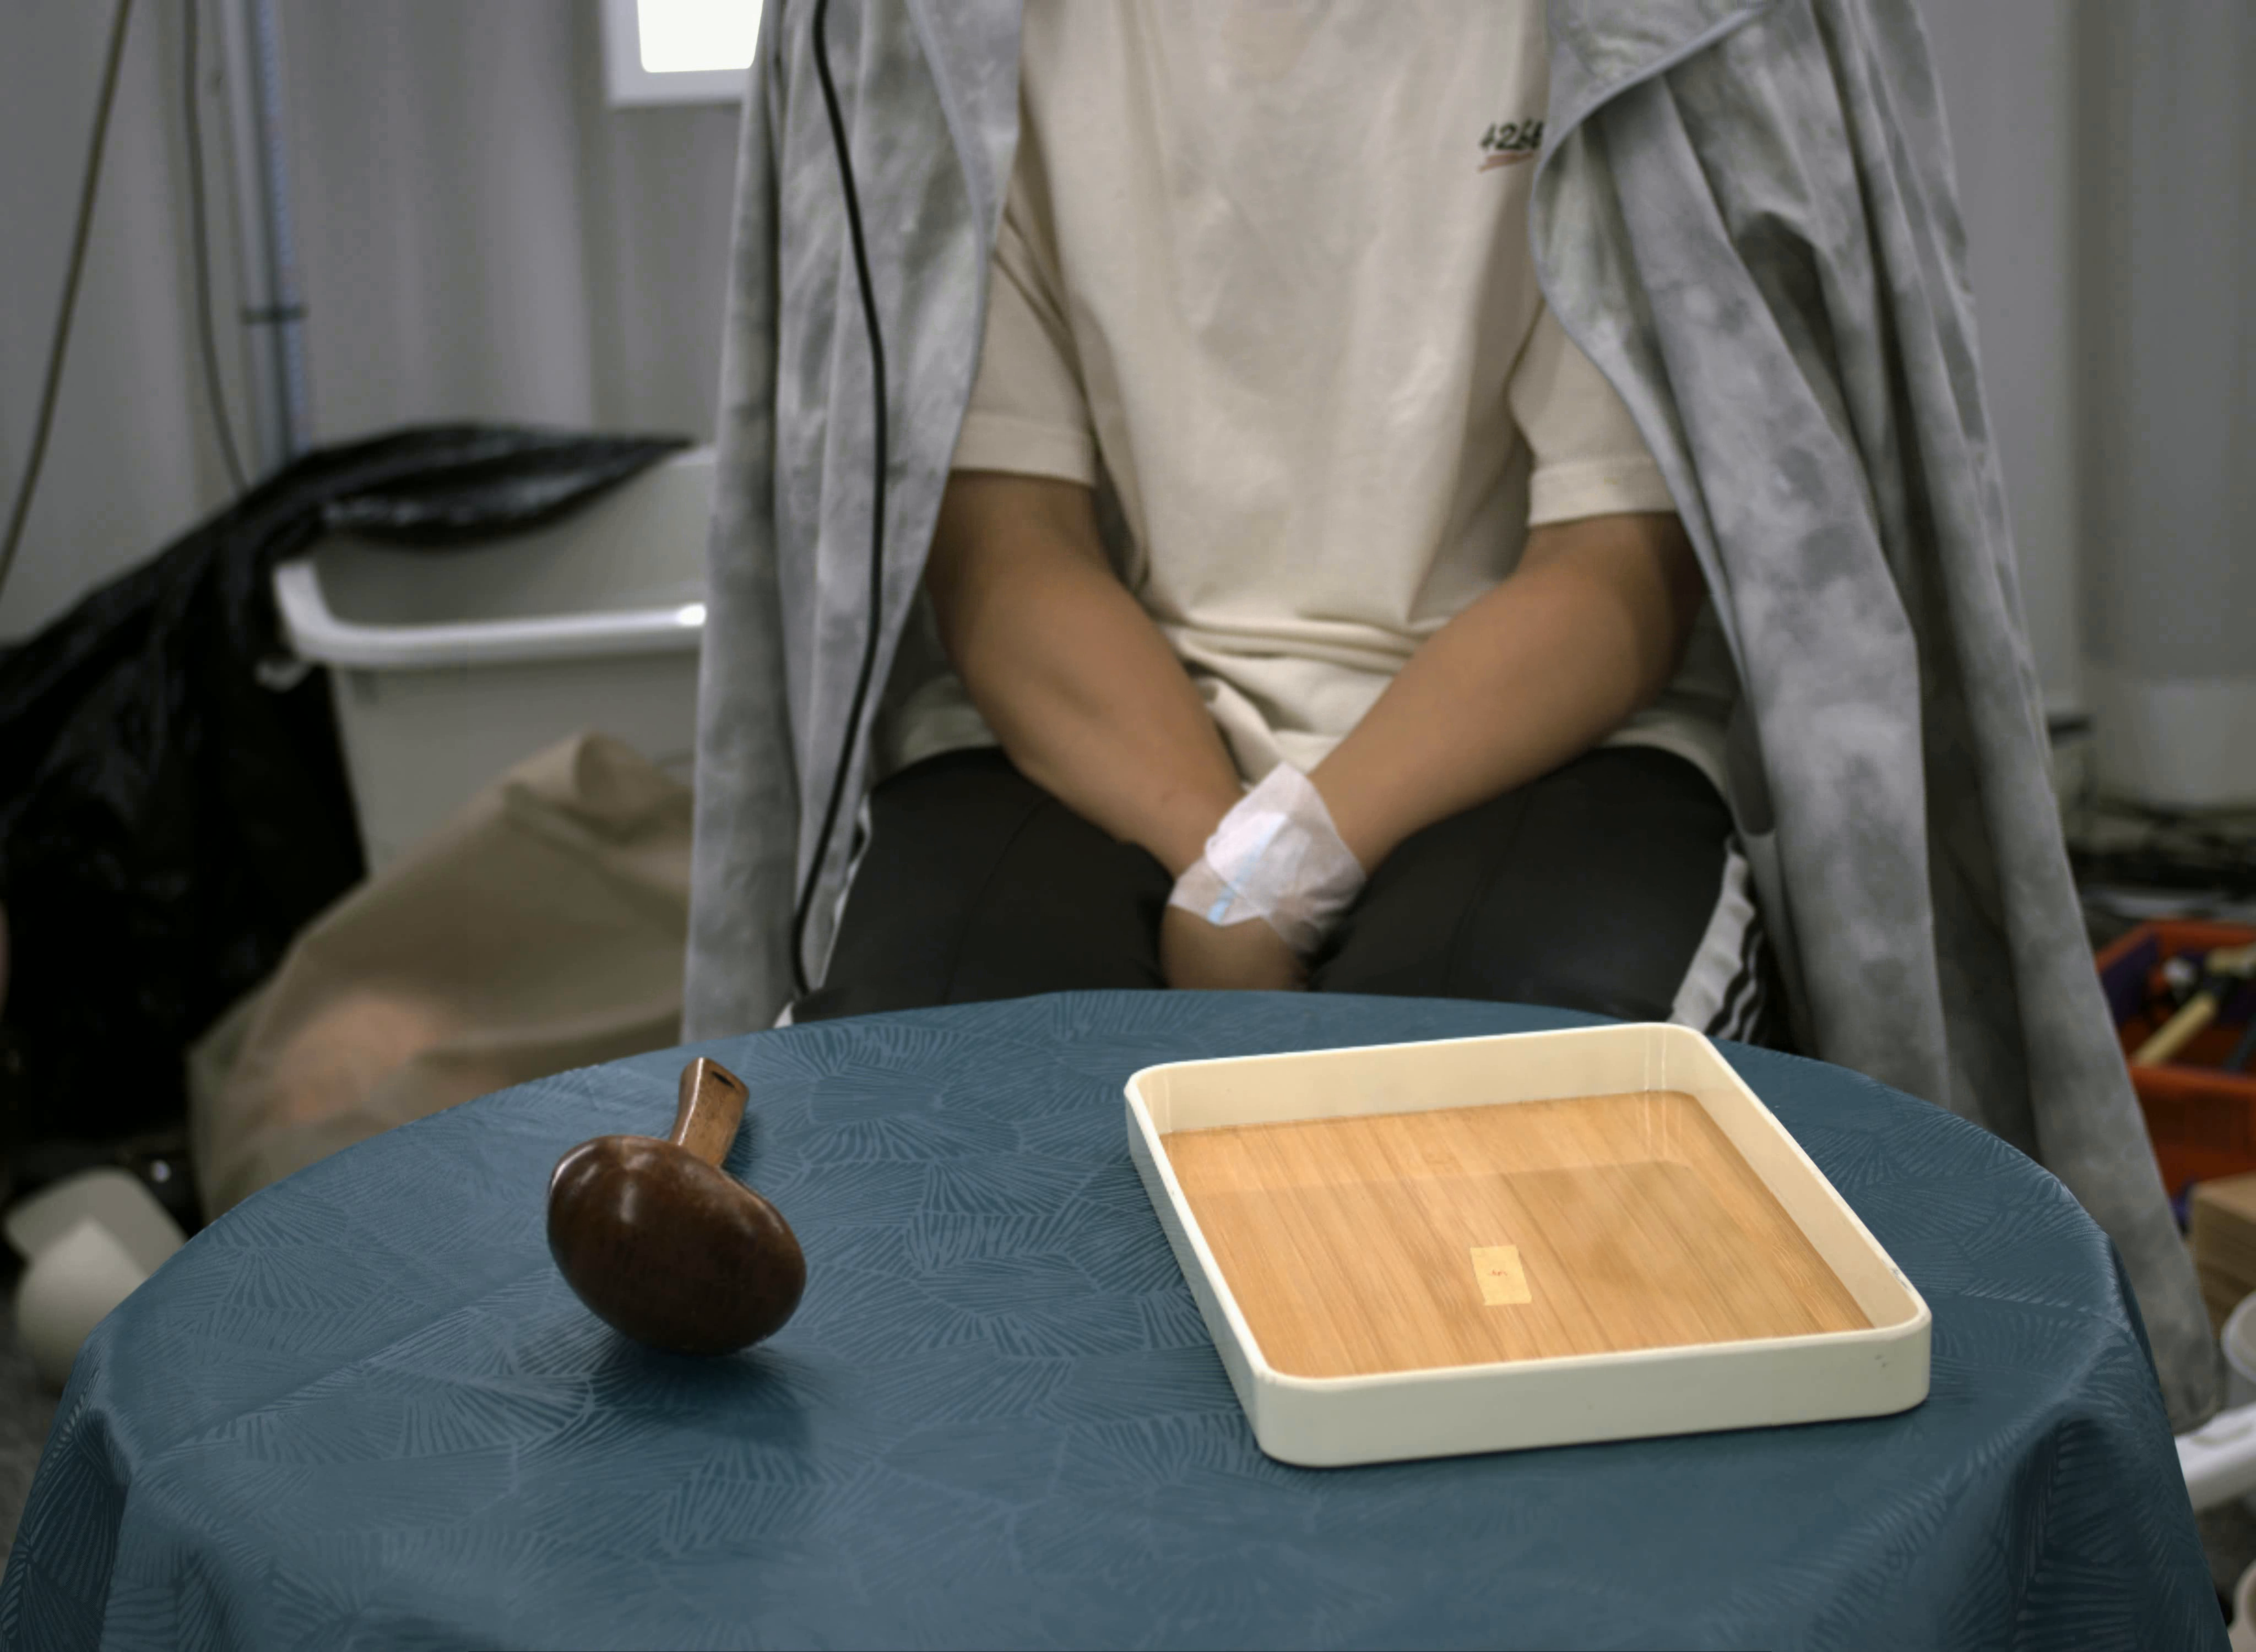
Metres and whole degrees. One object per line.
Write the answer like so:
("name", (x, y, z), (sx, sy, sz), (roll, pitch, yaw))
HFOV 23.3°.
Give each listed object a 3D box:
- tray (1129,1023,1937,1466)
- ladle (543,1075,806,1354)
("tray", (0.112, 0.120, 1.627), (0.191, 0.027, 0.302), (-5, 15, -6))
("ladle", (-0.125, 0.096, 1.679), (0.082, 0.076, 0.275), (39, 14, -5))
